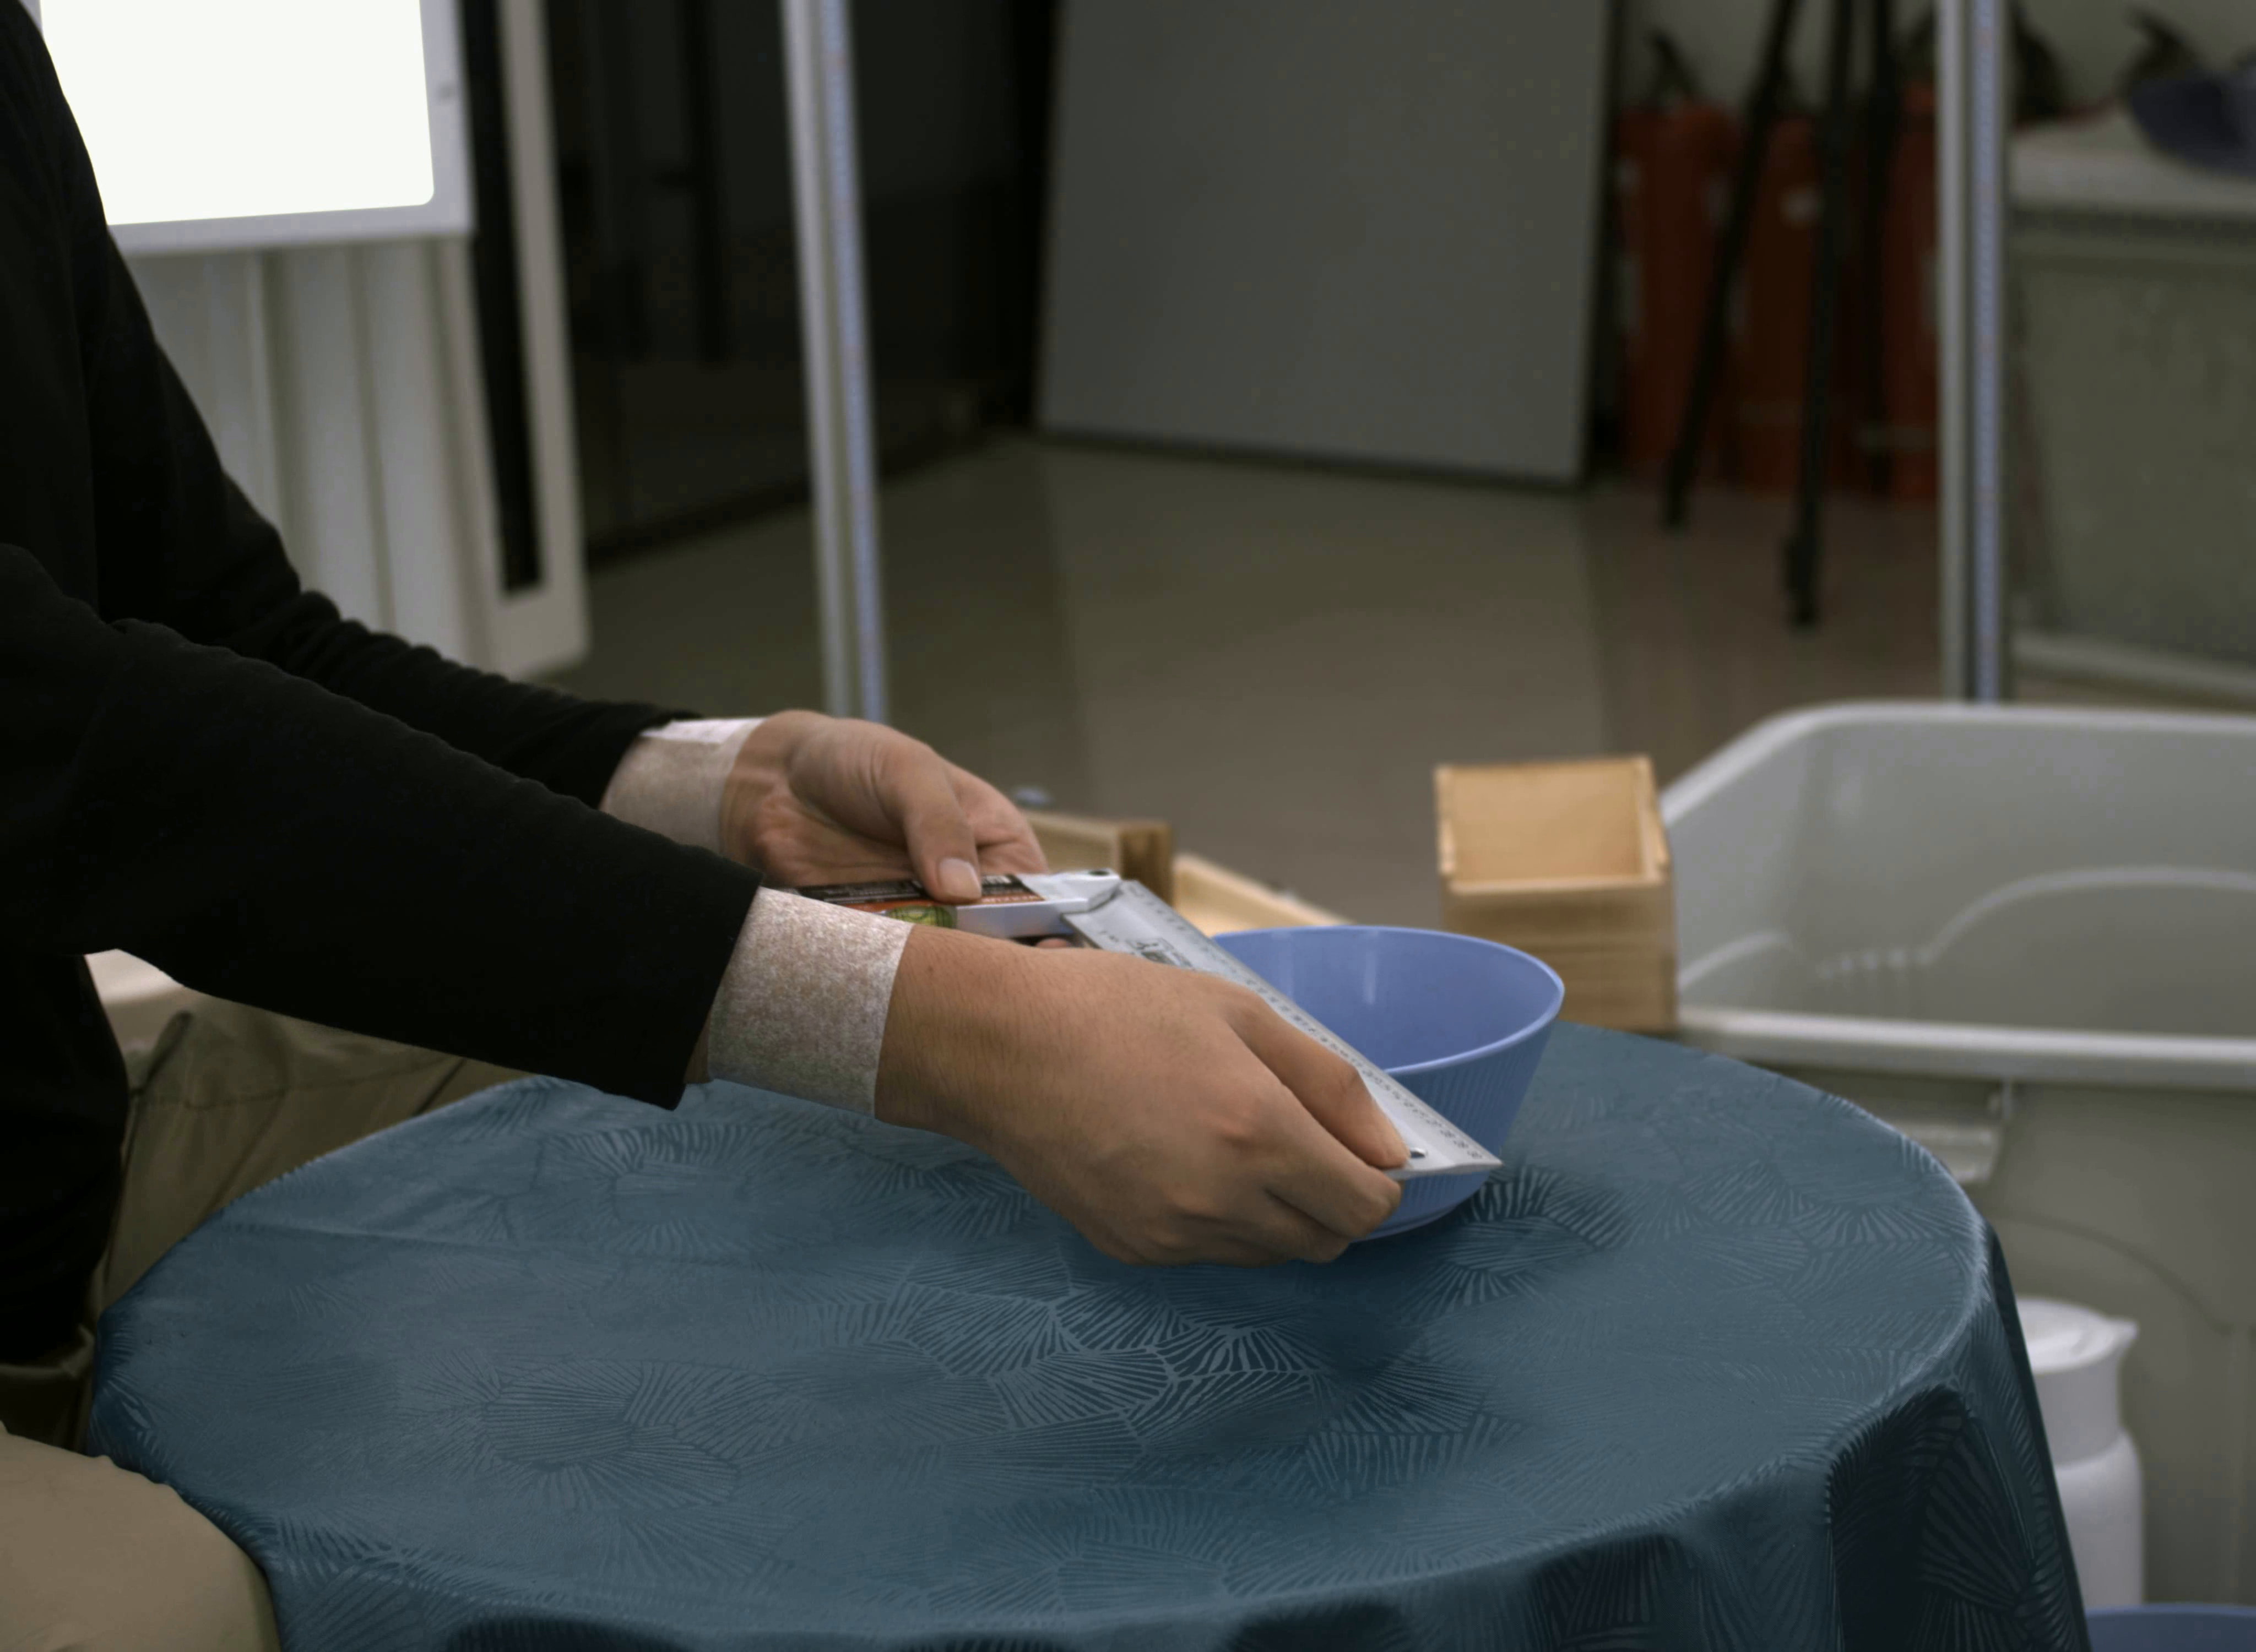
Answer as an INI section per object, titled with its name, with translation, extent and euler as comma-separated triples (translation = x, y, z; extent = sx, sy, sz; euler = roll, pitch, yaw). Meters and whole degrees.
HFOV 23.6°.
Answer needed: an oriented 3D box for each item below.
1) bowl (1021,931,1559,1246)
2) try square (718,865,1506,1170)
[bowl]
translation = 0.054, 0.087, 1.746
extent = 0.174, 0.071, 0.176
euler = -4, 14, 0
[try square]
translation = -0.013, 0.063, 1.675
extent = 0.149, 0.016, 0.316
euler = -7, 16, -18
